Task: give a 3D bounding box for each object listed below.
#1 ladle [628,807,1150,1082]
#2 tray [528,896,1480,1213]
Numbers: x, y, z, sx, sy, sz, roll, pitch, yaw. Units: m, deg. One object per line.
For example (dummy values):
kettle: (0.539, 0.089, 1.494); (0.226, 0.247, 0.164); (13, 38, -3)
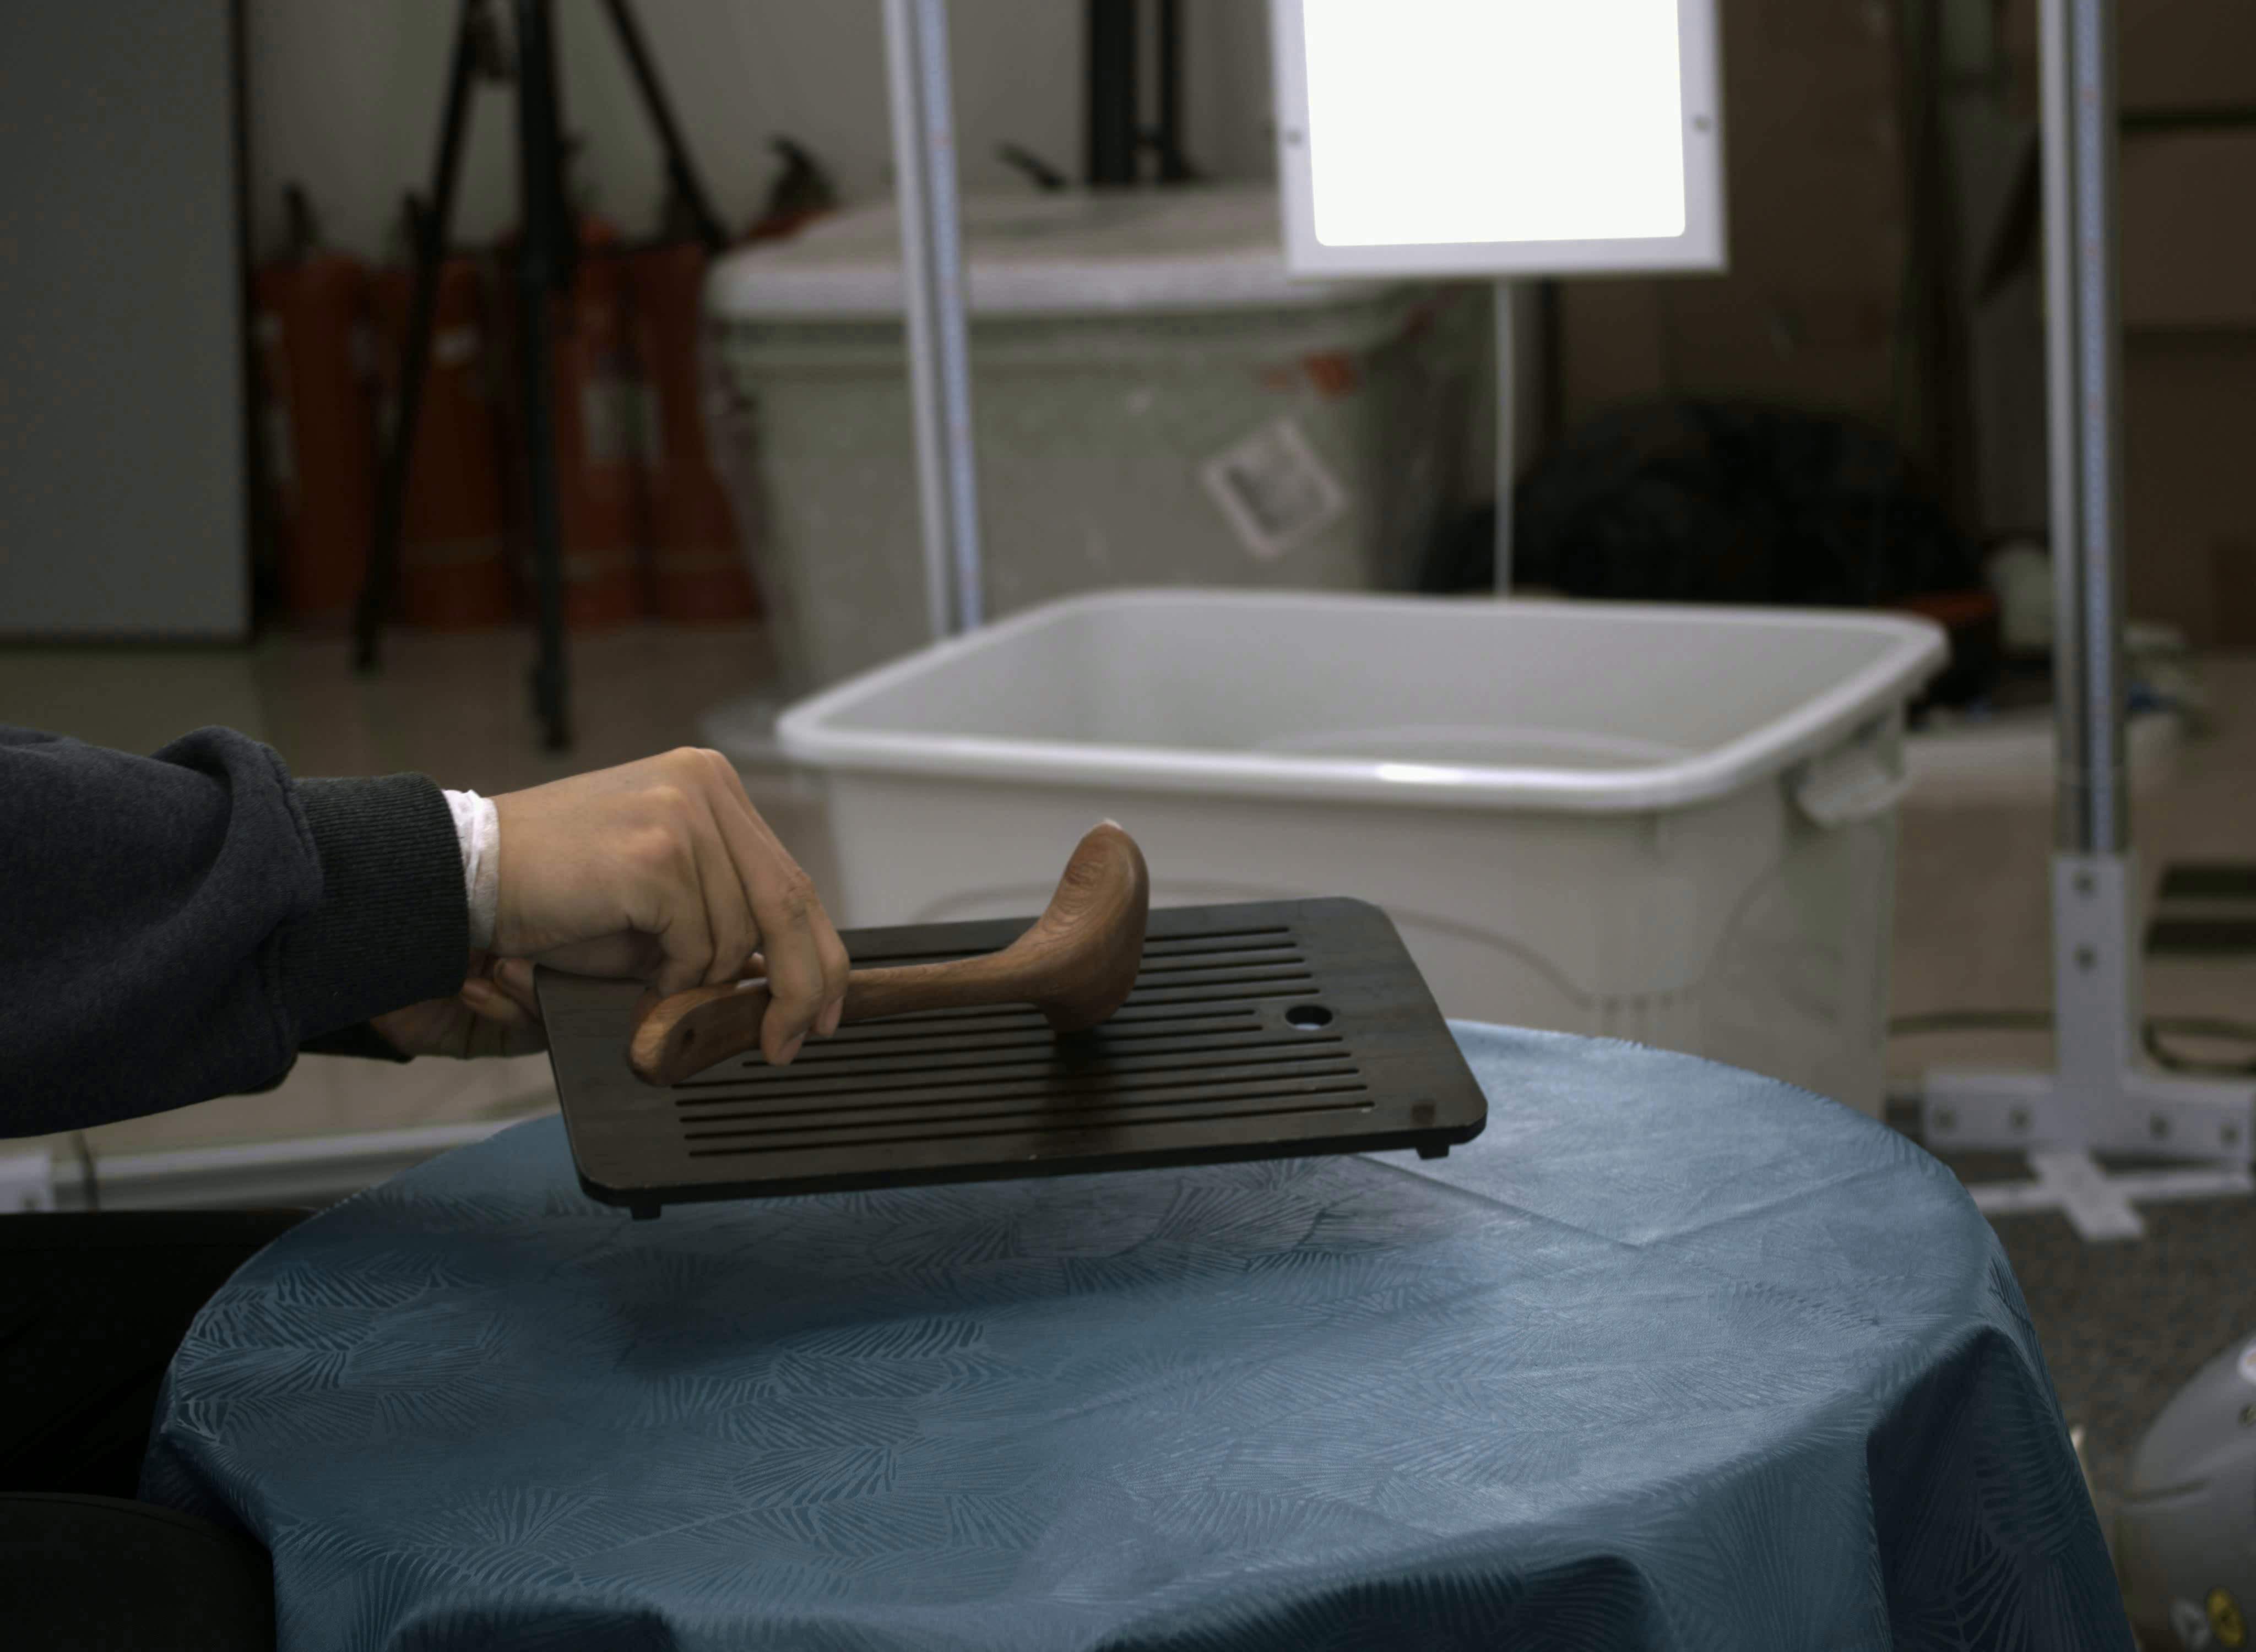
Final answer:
ladle: (-0.080, 0.046, 1.789); (0.066, 0.077, 0.253); (17, 20, 42)
tray: (-0.045, 0.077, 1.869); (0.303, 0.019, 0.171); (-4, 27, -9)
